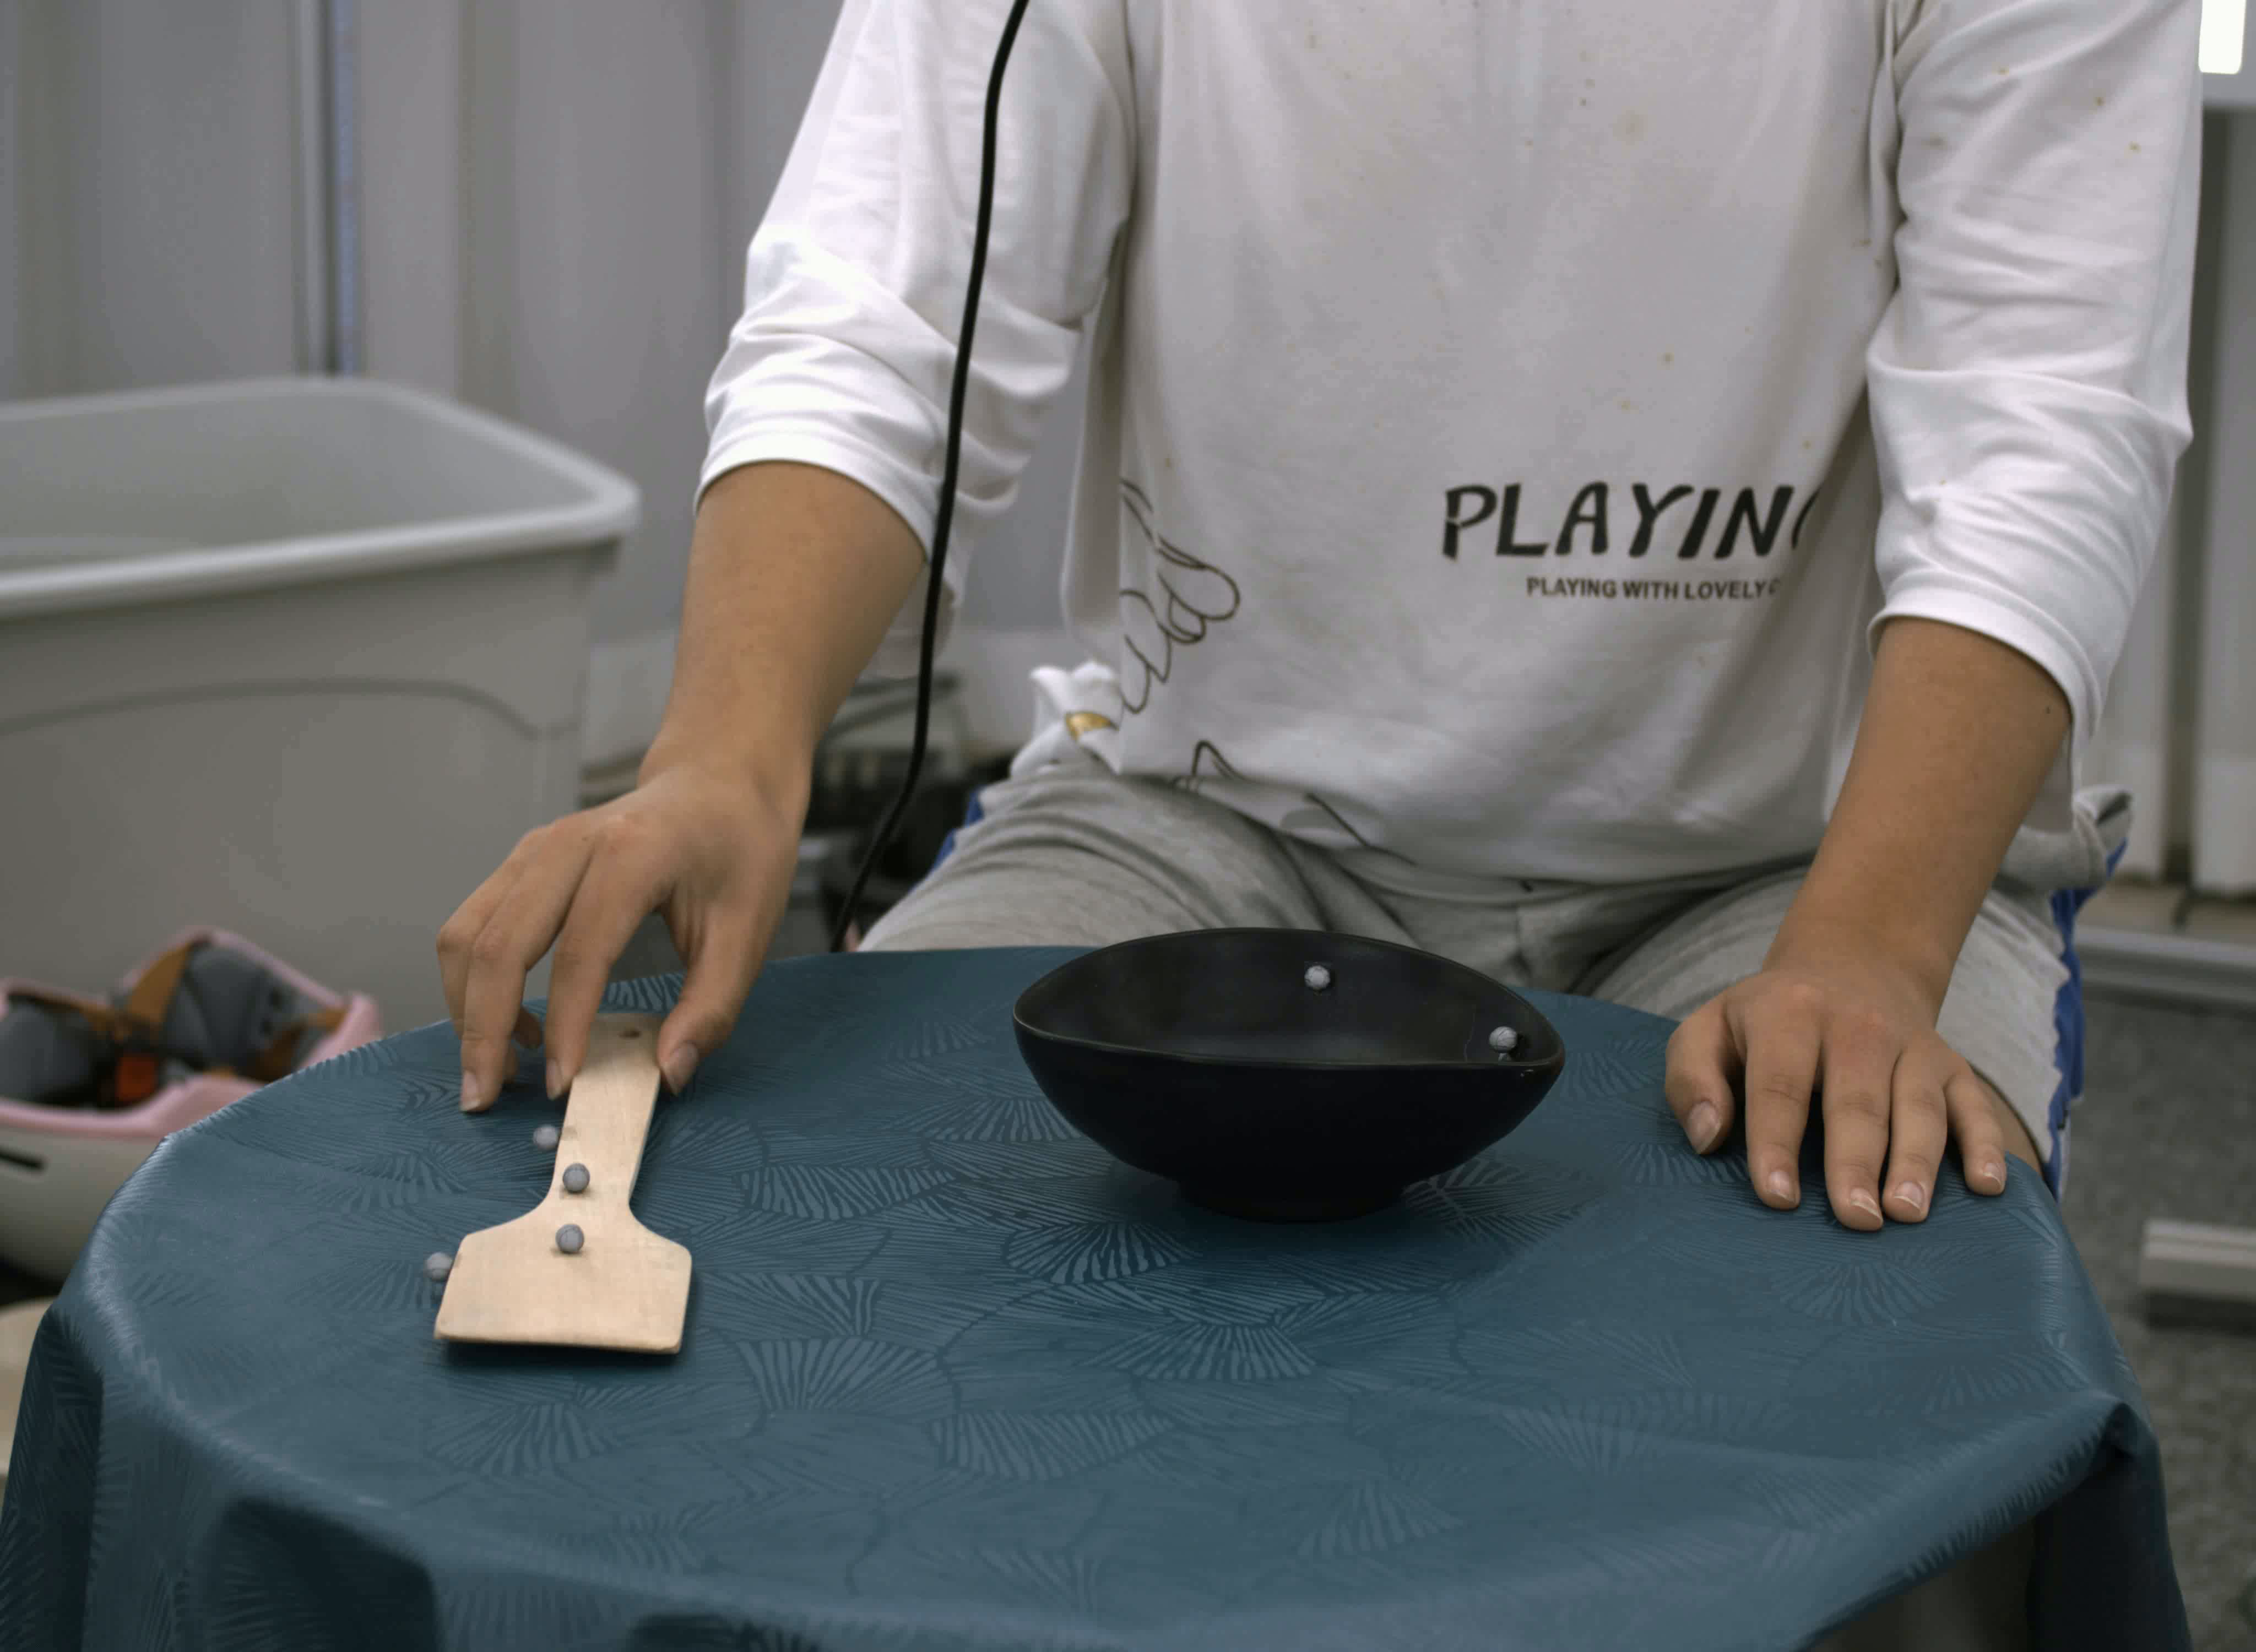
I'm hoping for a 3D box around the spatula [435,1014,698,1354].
[{"bbox_3d":[-0.163,0.107,1.616,0.072,0.011,0.291,3,17,-2],"label":"spatula"}]

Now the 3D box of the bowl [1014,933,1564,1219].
[{"bbox_3d":[0.049,0.081,1.627,0.170,0.067,0.136,3,15,0],"label":"bowl"}]
